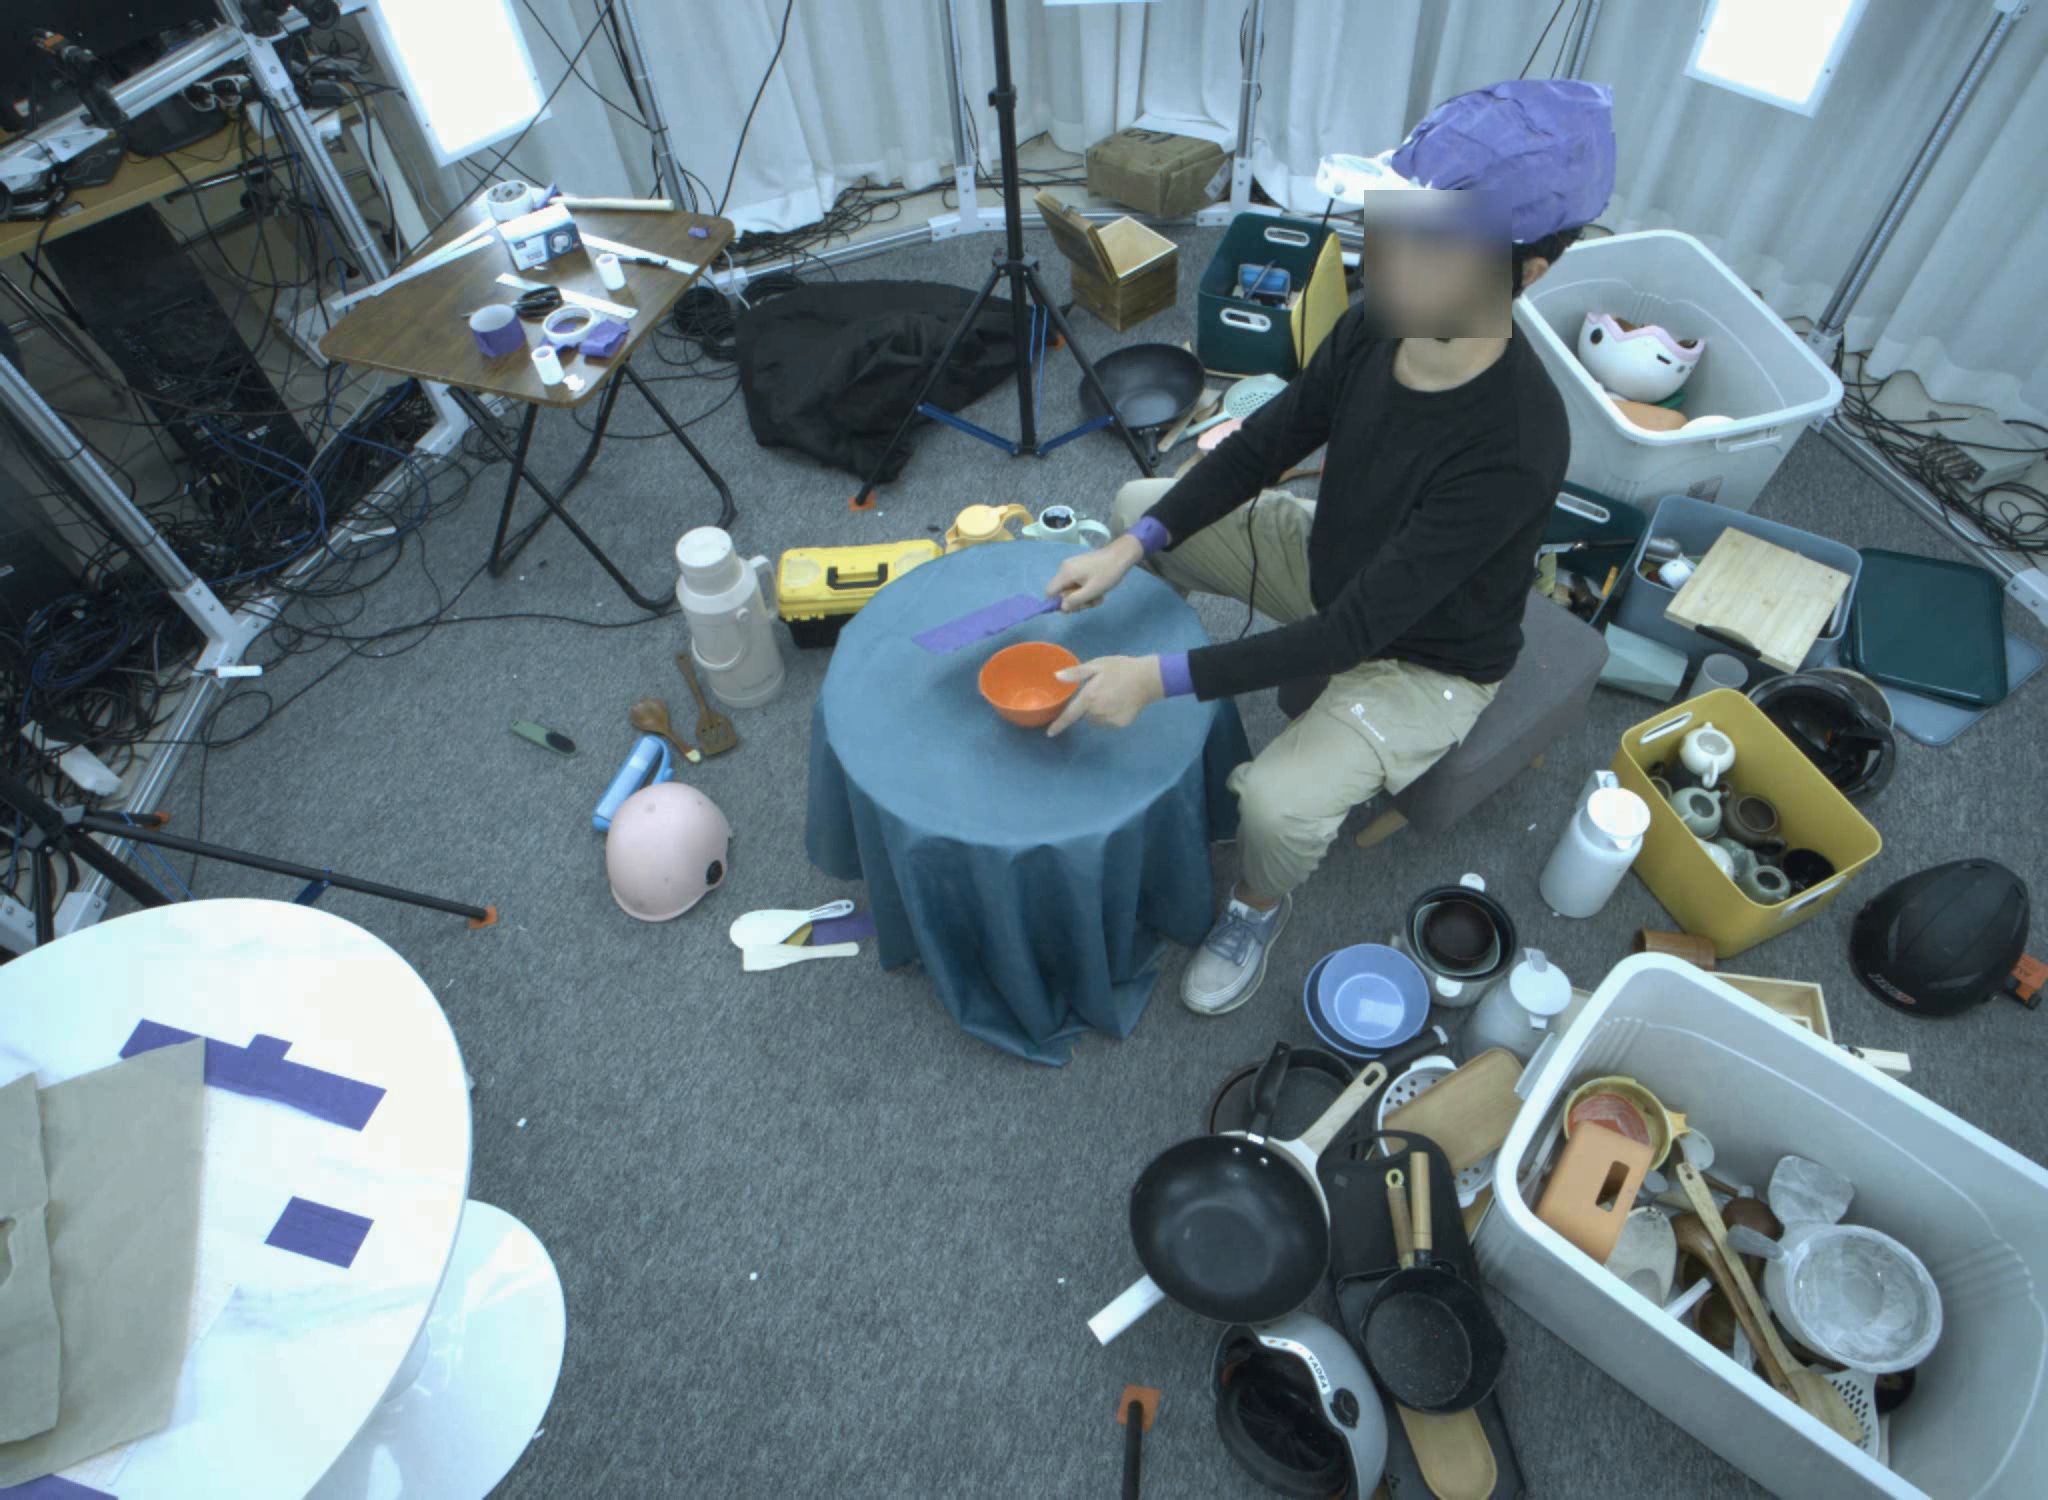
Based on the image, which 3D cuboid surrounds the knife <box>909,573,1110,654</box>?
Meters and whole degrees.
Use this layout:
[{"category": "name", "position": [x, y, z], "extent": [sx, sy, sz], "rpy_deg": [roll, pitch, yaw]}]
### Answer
[{"category": "knife", "position": [-0.022, -0.212, 1.833], "extent": [0.319, 0.032, 0.101], "rpy_deg": [-23, 33, -27]}]

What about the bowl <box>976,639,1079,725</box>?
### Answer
[{"category": "bowl", "position": [0.009, -0.084, 1.777], "extent": [0.147, 0.106, 0.146], "rpy_deg": [-2, 57, 5]}]
